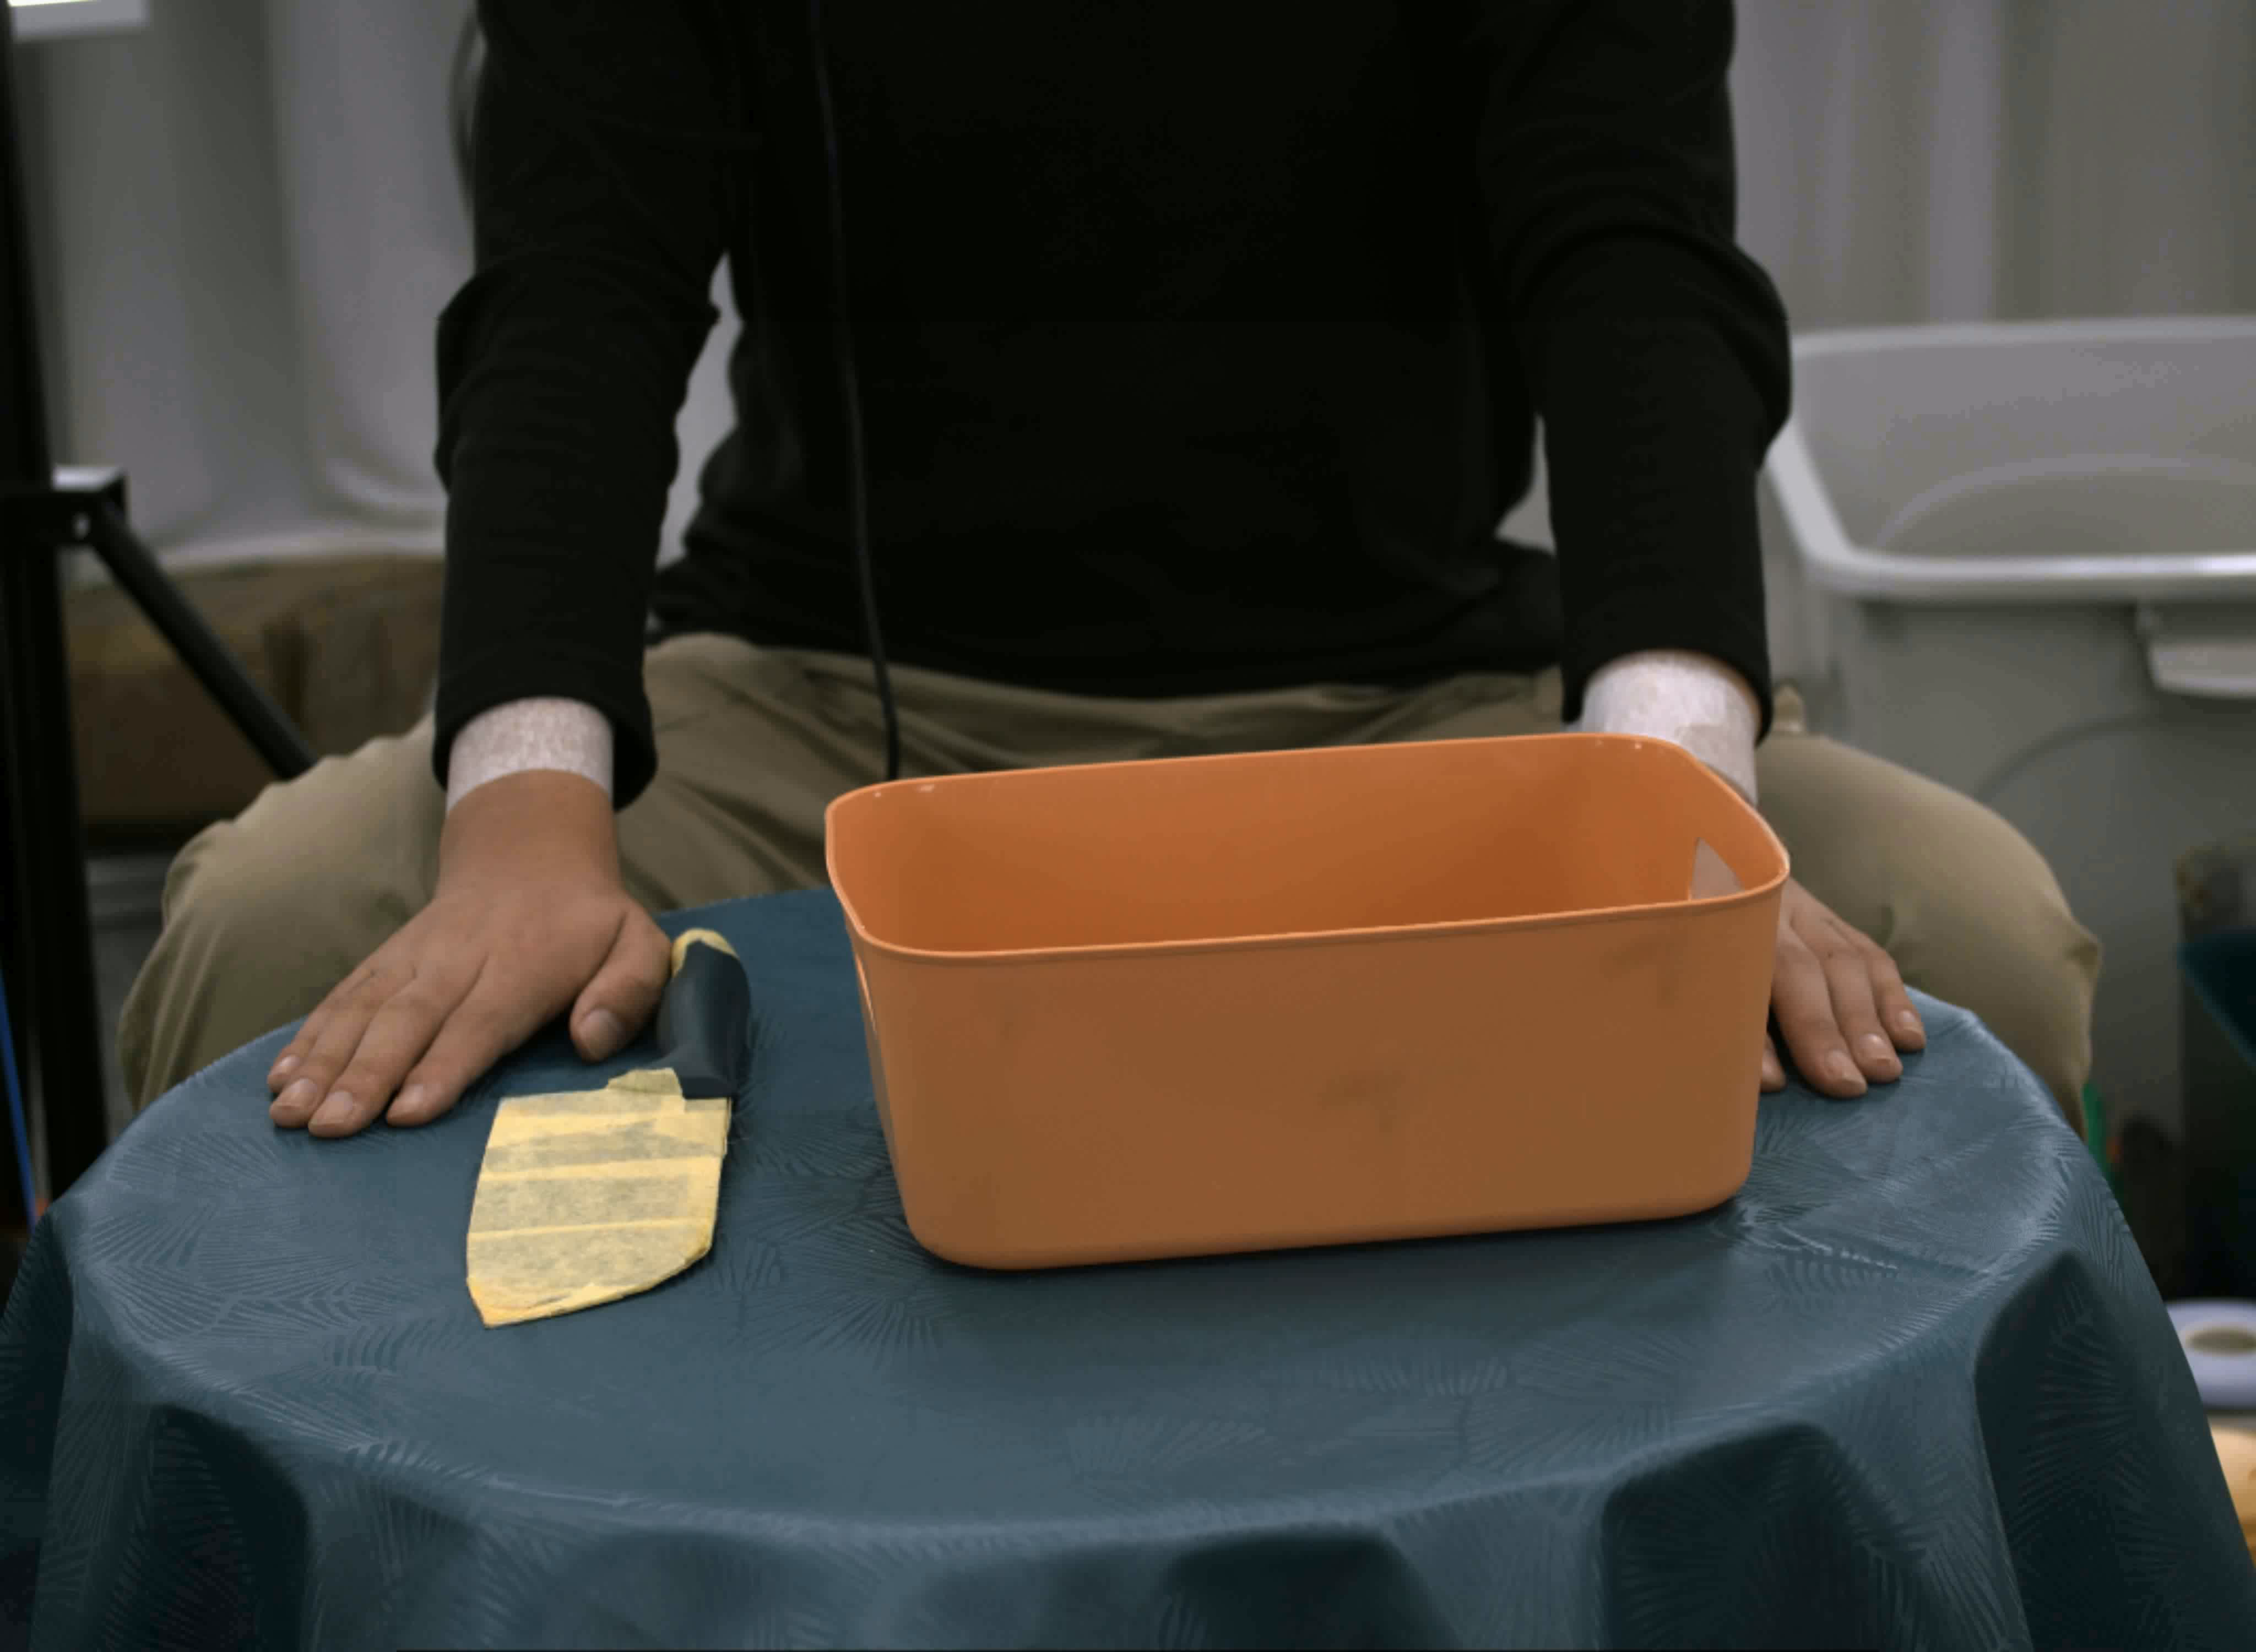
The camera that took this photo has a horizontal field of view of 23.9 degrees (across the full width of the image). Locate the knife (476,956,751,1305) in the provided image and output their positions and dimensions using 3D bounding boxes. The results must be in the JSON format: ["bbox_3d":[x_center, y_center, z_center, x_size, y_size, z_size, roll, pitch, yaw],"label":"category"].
[{"bbox_3d":[-0.152,0.092,1.616,0.081,0.027,0.290,0,16,3],"label":"knife"}]

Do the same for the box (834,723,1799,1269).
[{"bbox_3d":[0.052,0.049,1.567,0.271,0.102,0.201,-4,16,-5],"label":"box"}]
